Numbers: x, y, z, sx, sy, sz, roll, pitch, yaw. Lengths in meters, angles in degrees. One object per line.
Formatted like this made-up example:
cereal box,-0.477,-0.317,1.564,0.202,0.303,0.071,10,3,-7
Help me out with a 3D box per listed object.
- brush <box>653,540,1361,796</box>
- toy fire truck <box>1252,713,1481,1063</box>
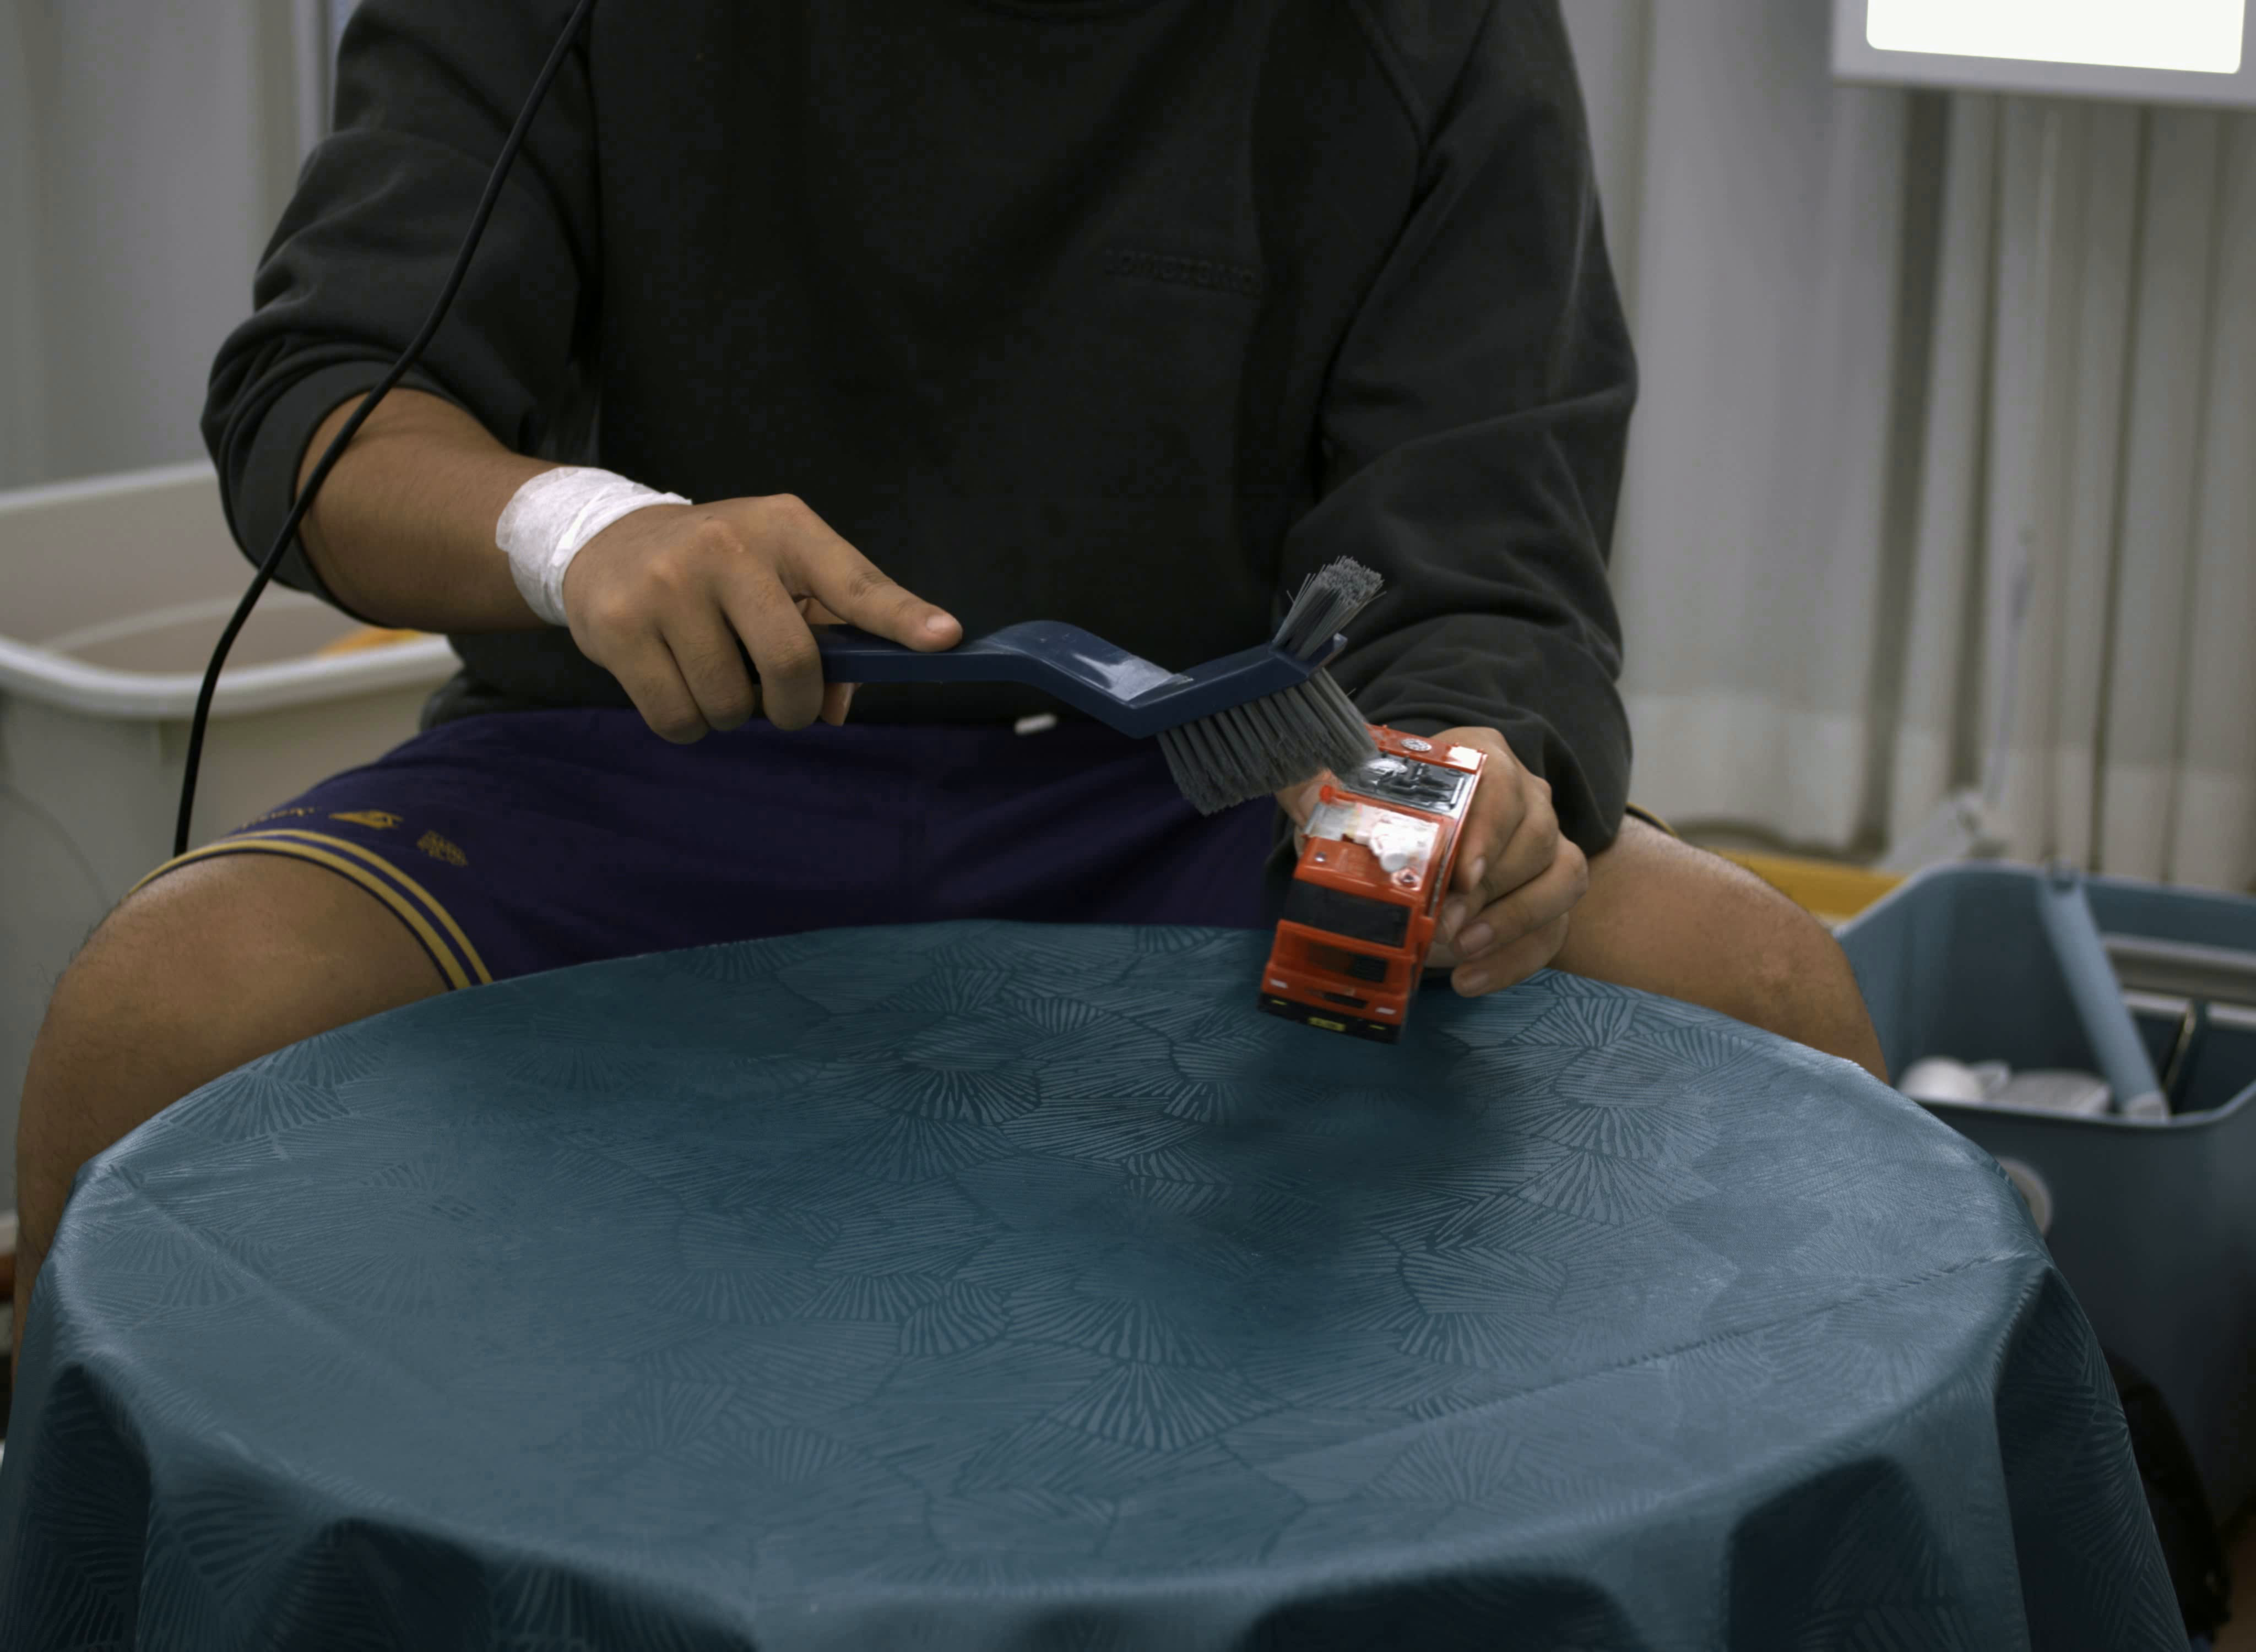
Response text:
brush,-0.043,-0.062,1.675,0.270,0.097,0.033,9,38,31
toy fire truck,0.075,0.015,1.609,0.054,0.071,0.167,14,20,5
